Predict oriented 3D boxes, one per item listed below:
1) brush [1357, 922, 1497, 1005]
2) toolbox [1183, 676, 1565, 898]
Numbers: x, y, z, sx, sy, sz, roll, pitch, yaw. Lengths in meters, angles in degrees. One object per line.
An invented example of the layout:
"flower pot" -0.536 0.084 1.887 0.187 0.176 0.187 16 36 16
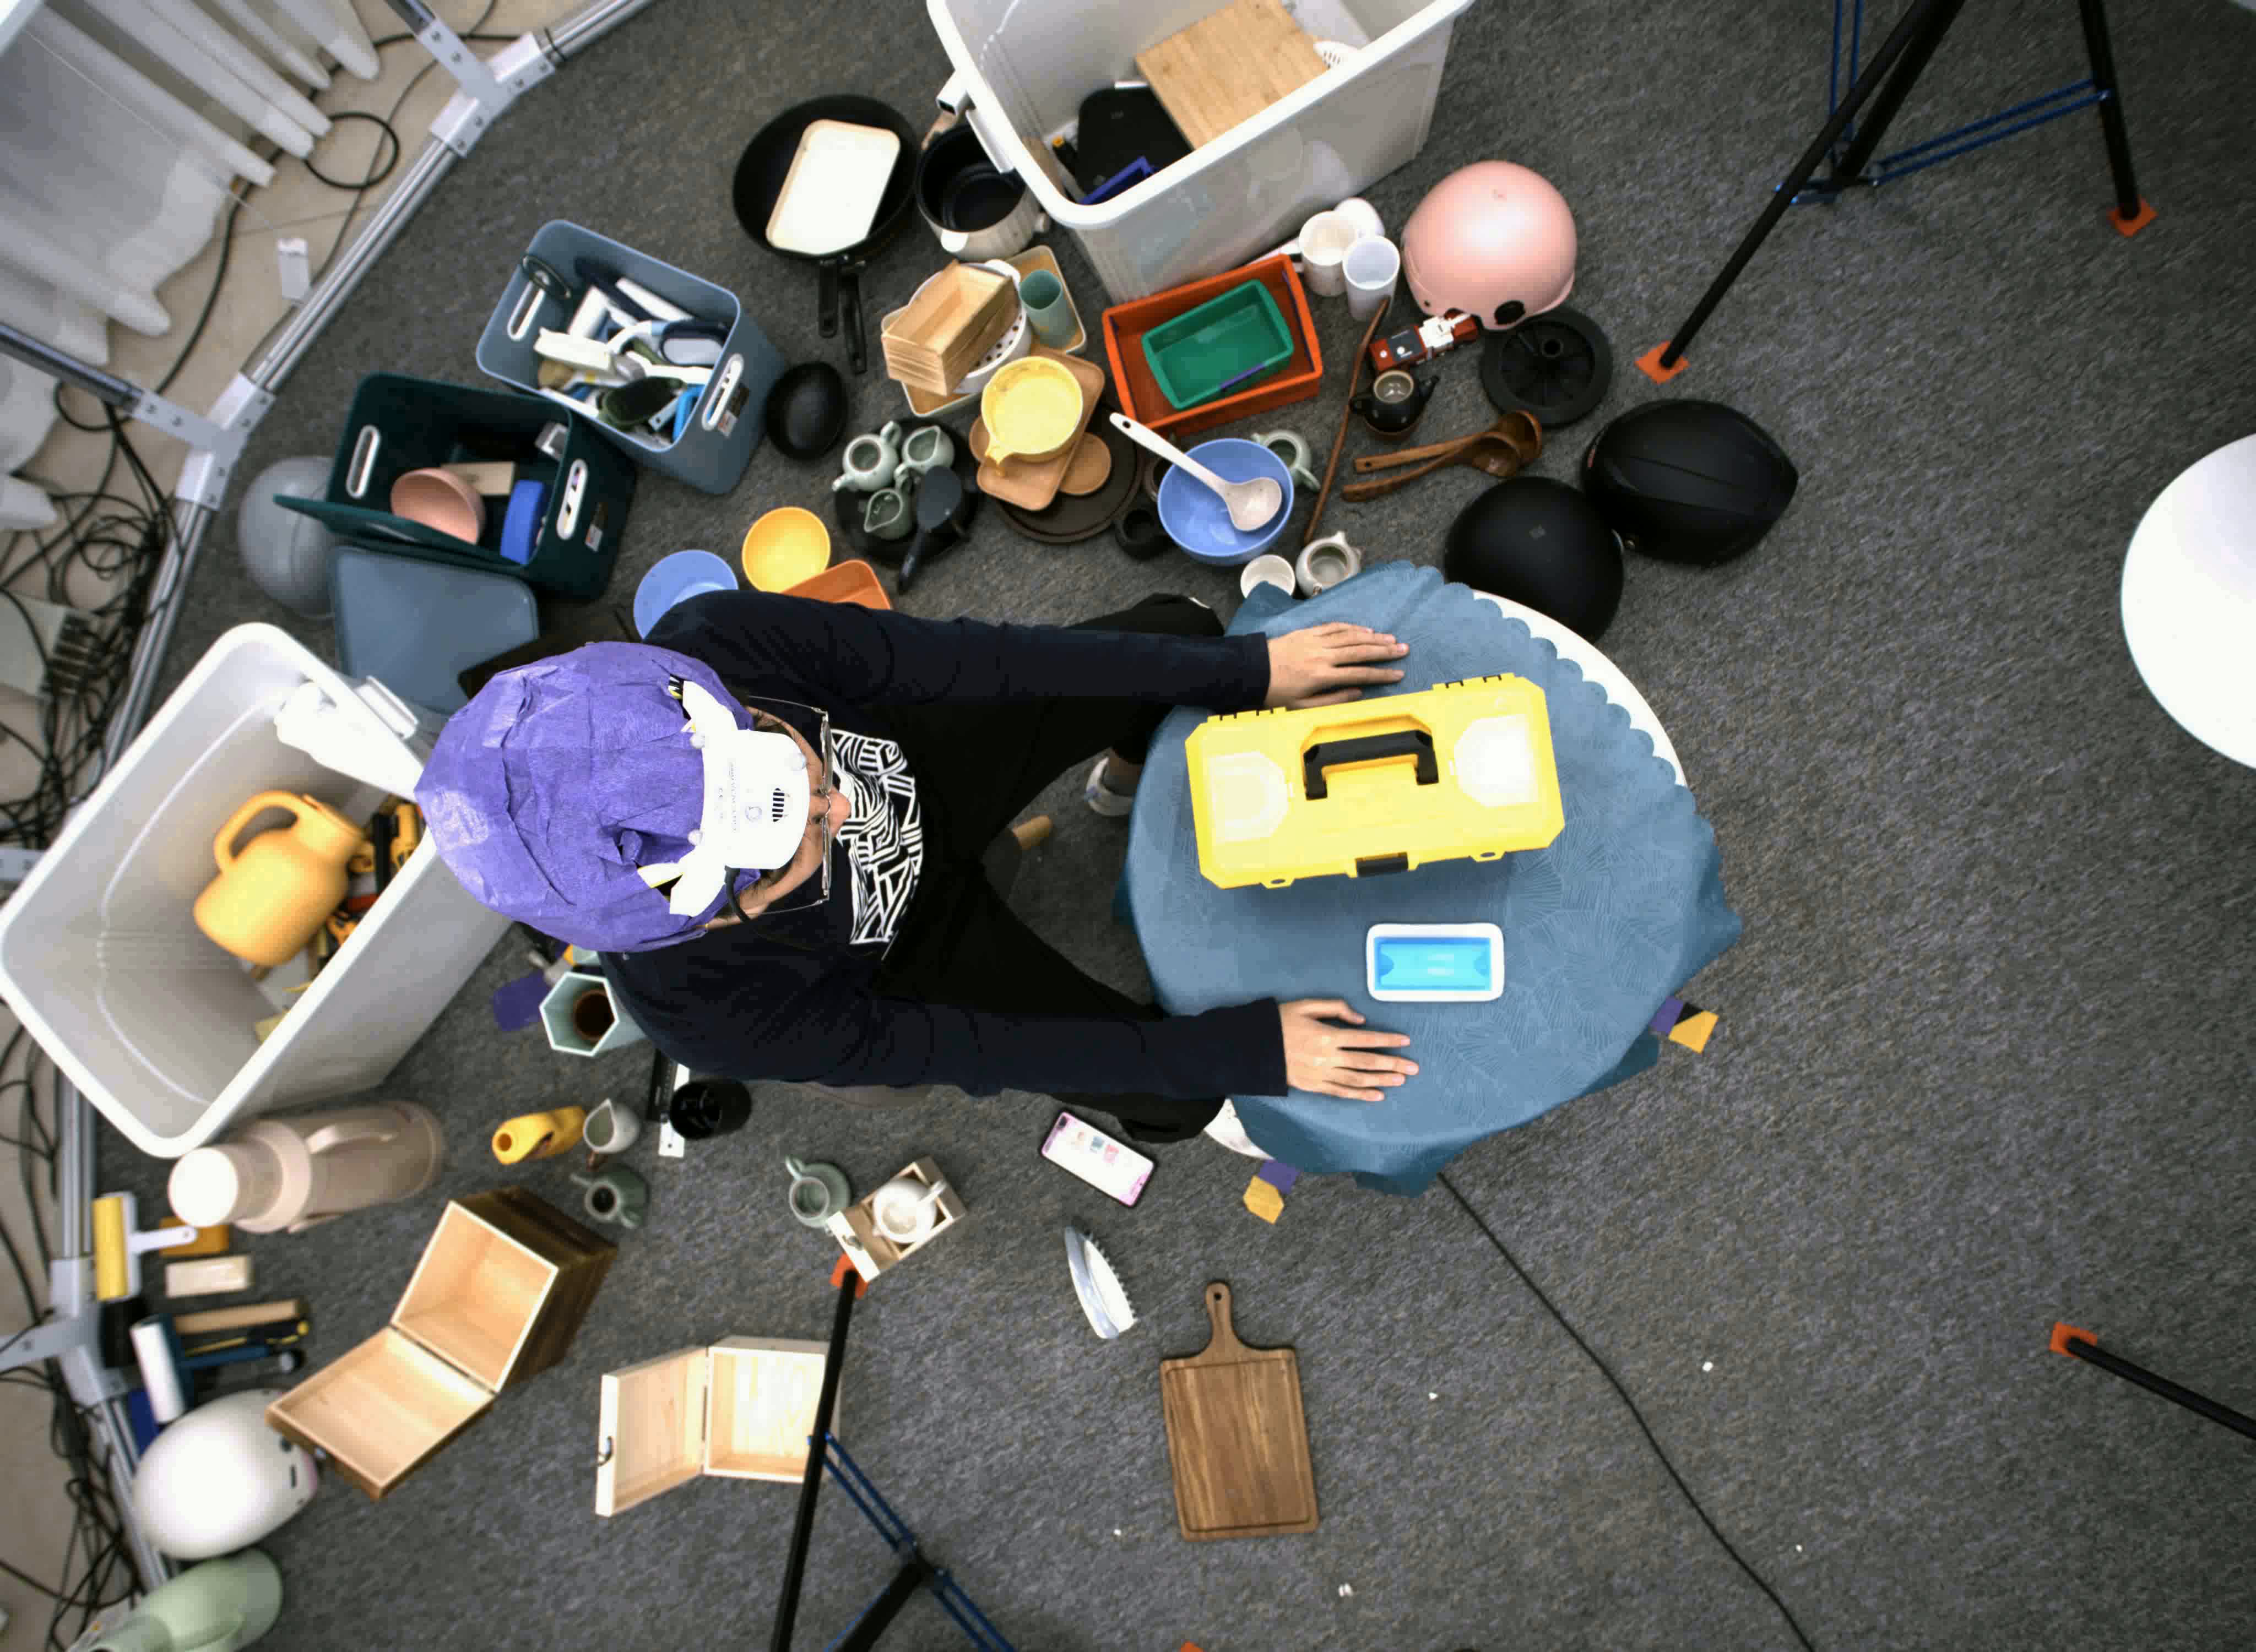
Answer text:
"brush" 0.308 0.139 1.418 0.144 0.056 0.083 2 83 9
"toolbox" 0.243 -0.035 1.381 0.353 0.173 0.180 -8 84 10
